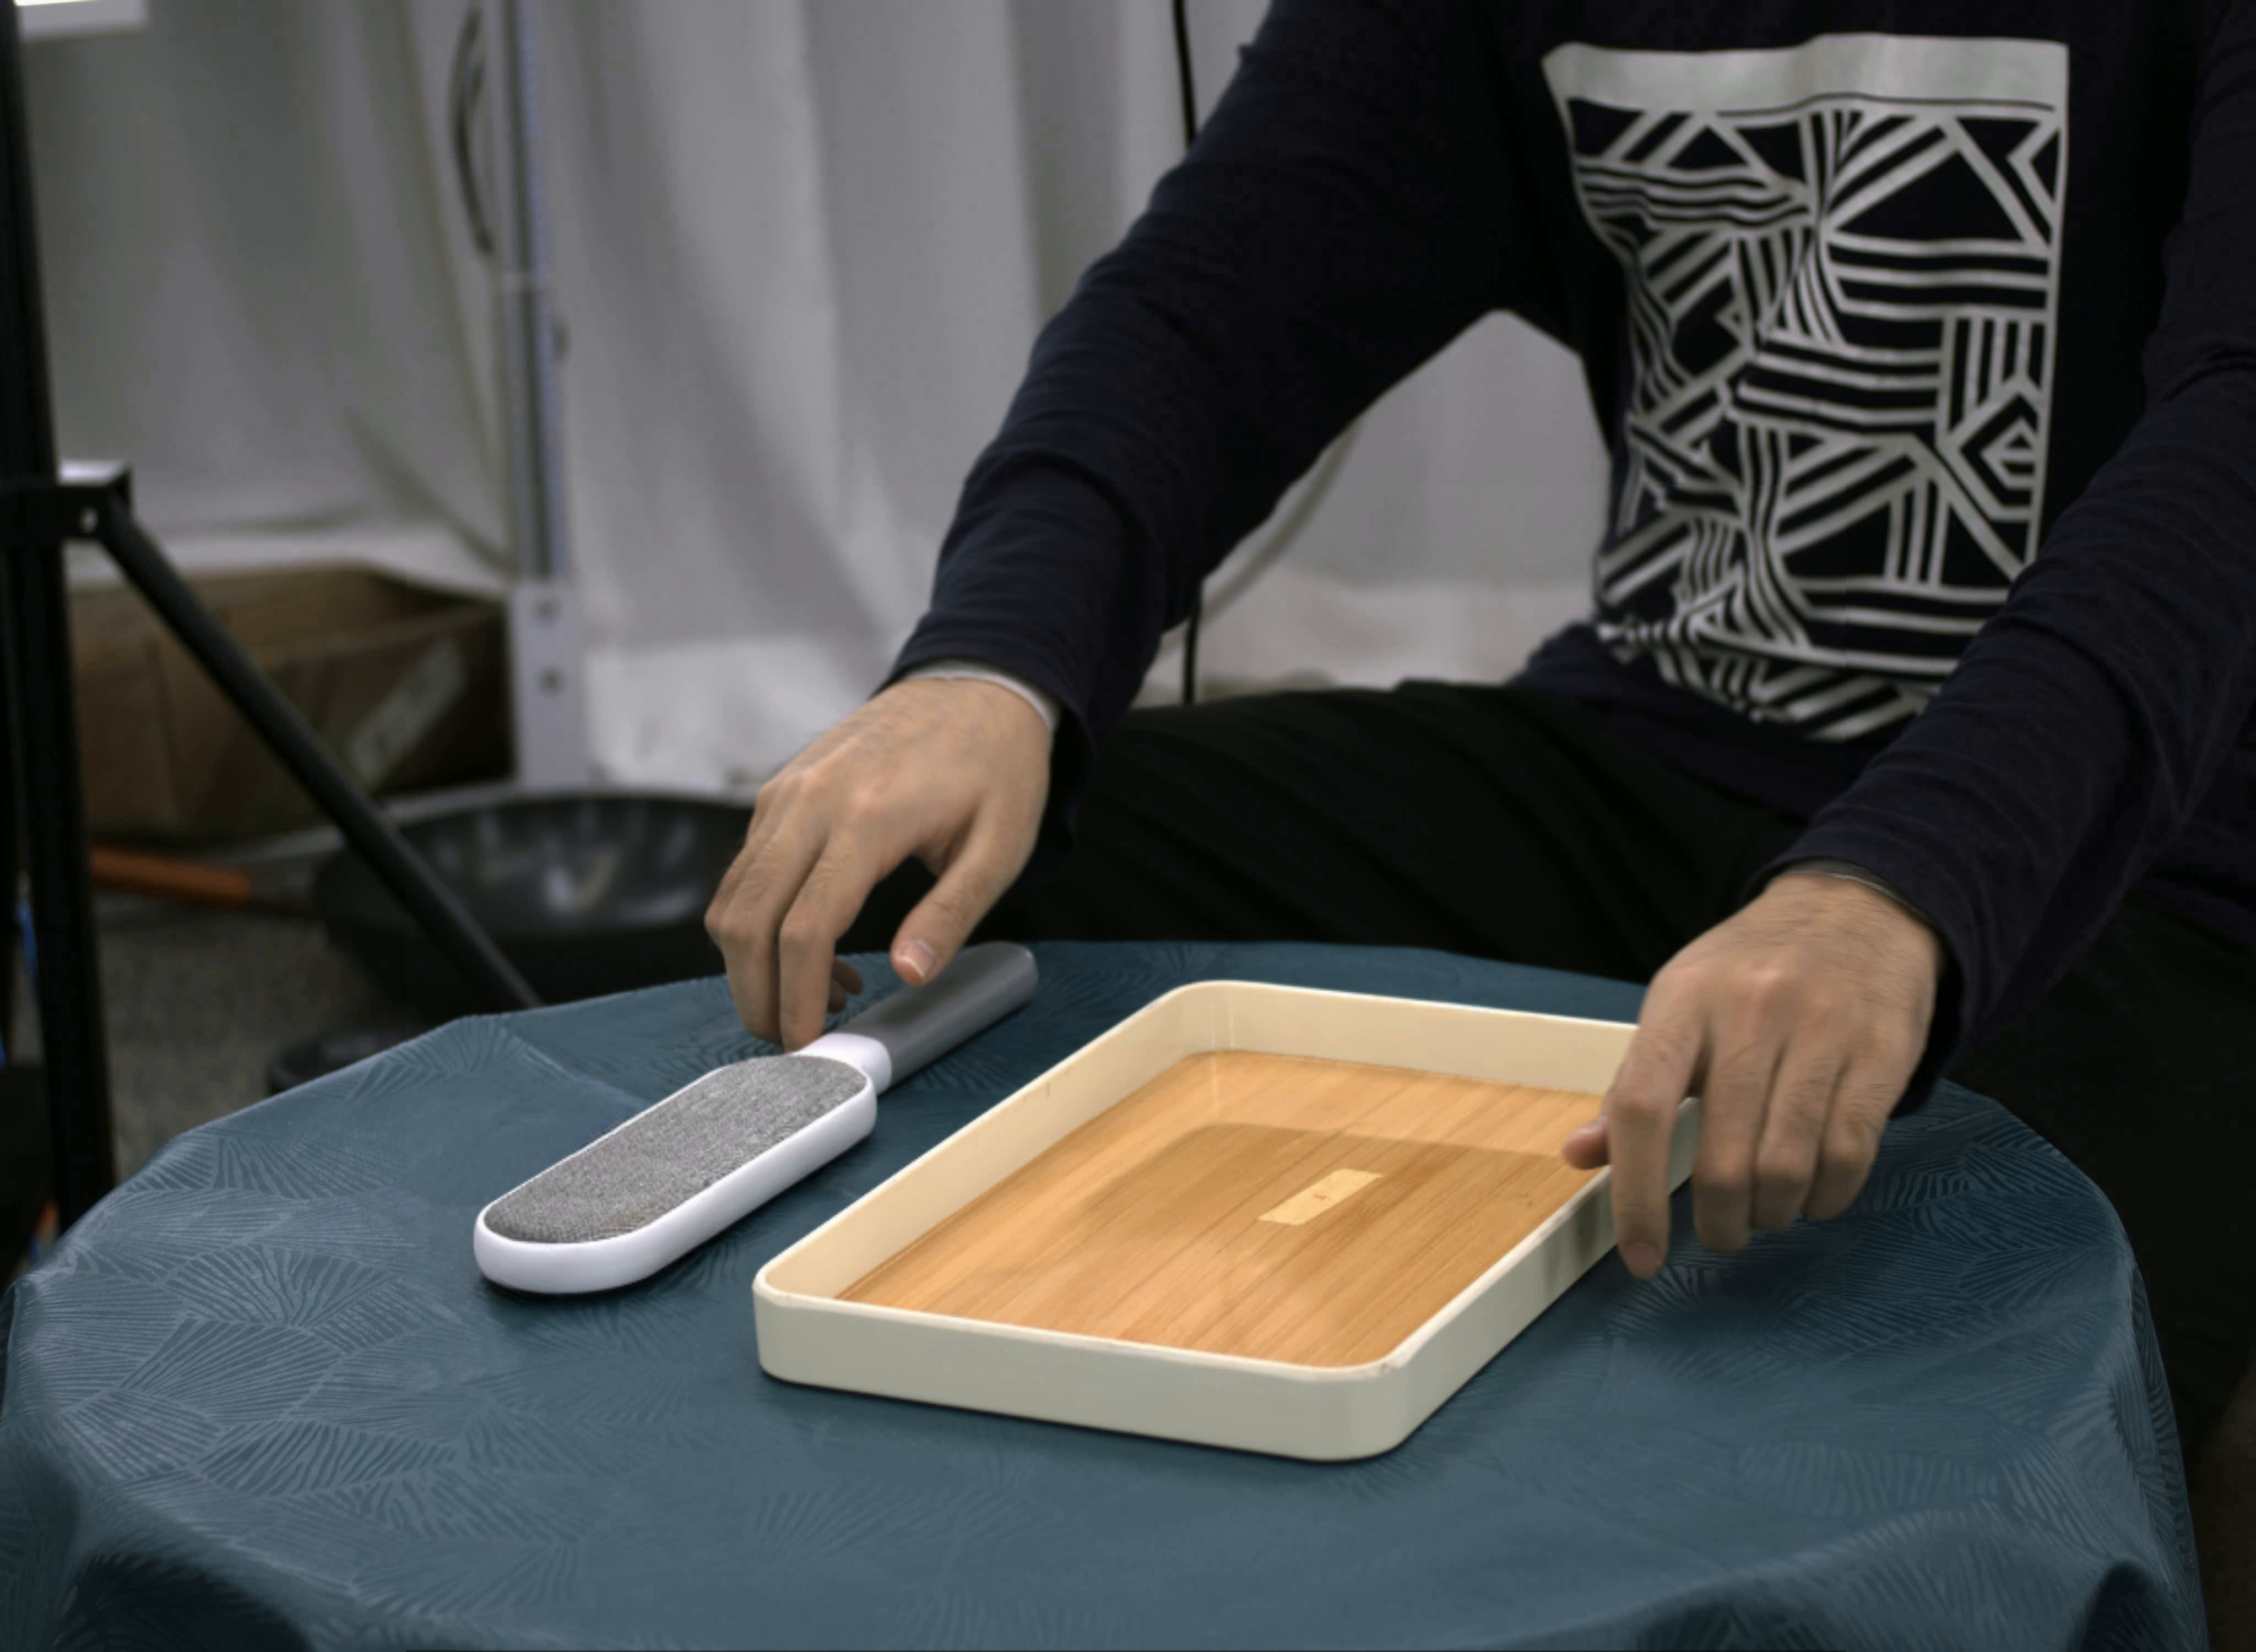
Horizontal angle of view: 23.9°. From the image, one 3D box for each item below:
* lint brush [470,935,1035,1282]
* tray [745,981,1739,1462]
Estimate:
[{"bbox_3d":[-0.103,0.082,1.620,0.061,0.021,0.304,-1,15,27],"label":"lint brush"},{"bbox_3d":[0.040,0.107,1.513,0.194,0.027,0.295,6,17,26],"label":"tray"}]
